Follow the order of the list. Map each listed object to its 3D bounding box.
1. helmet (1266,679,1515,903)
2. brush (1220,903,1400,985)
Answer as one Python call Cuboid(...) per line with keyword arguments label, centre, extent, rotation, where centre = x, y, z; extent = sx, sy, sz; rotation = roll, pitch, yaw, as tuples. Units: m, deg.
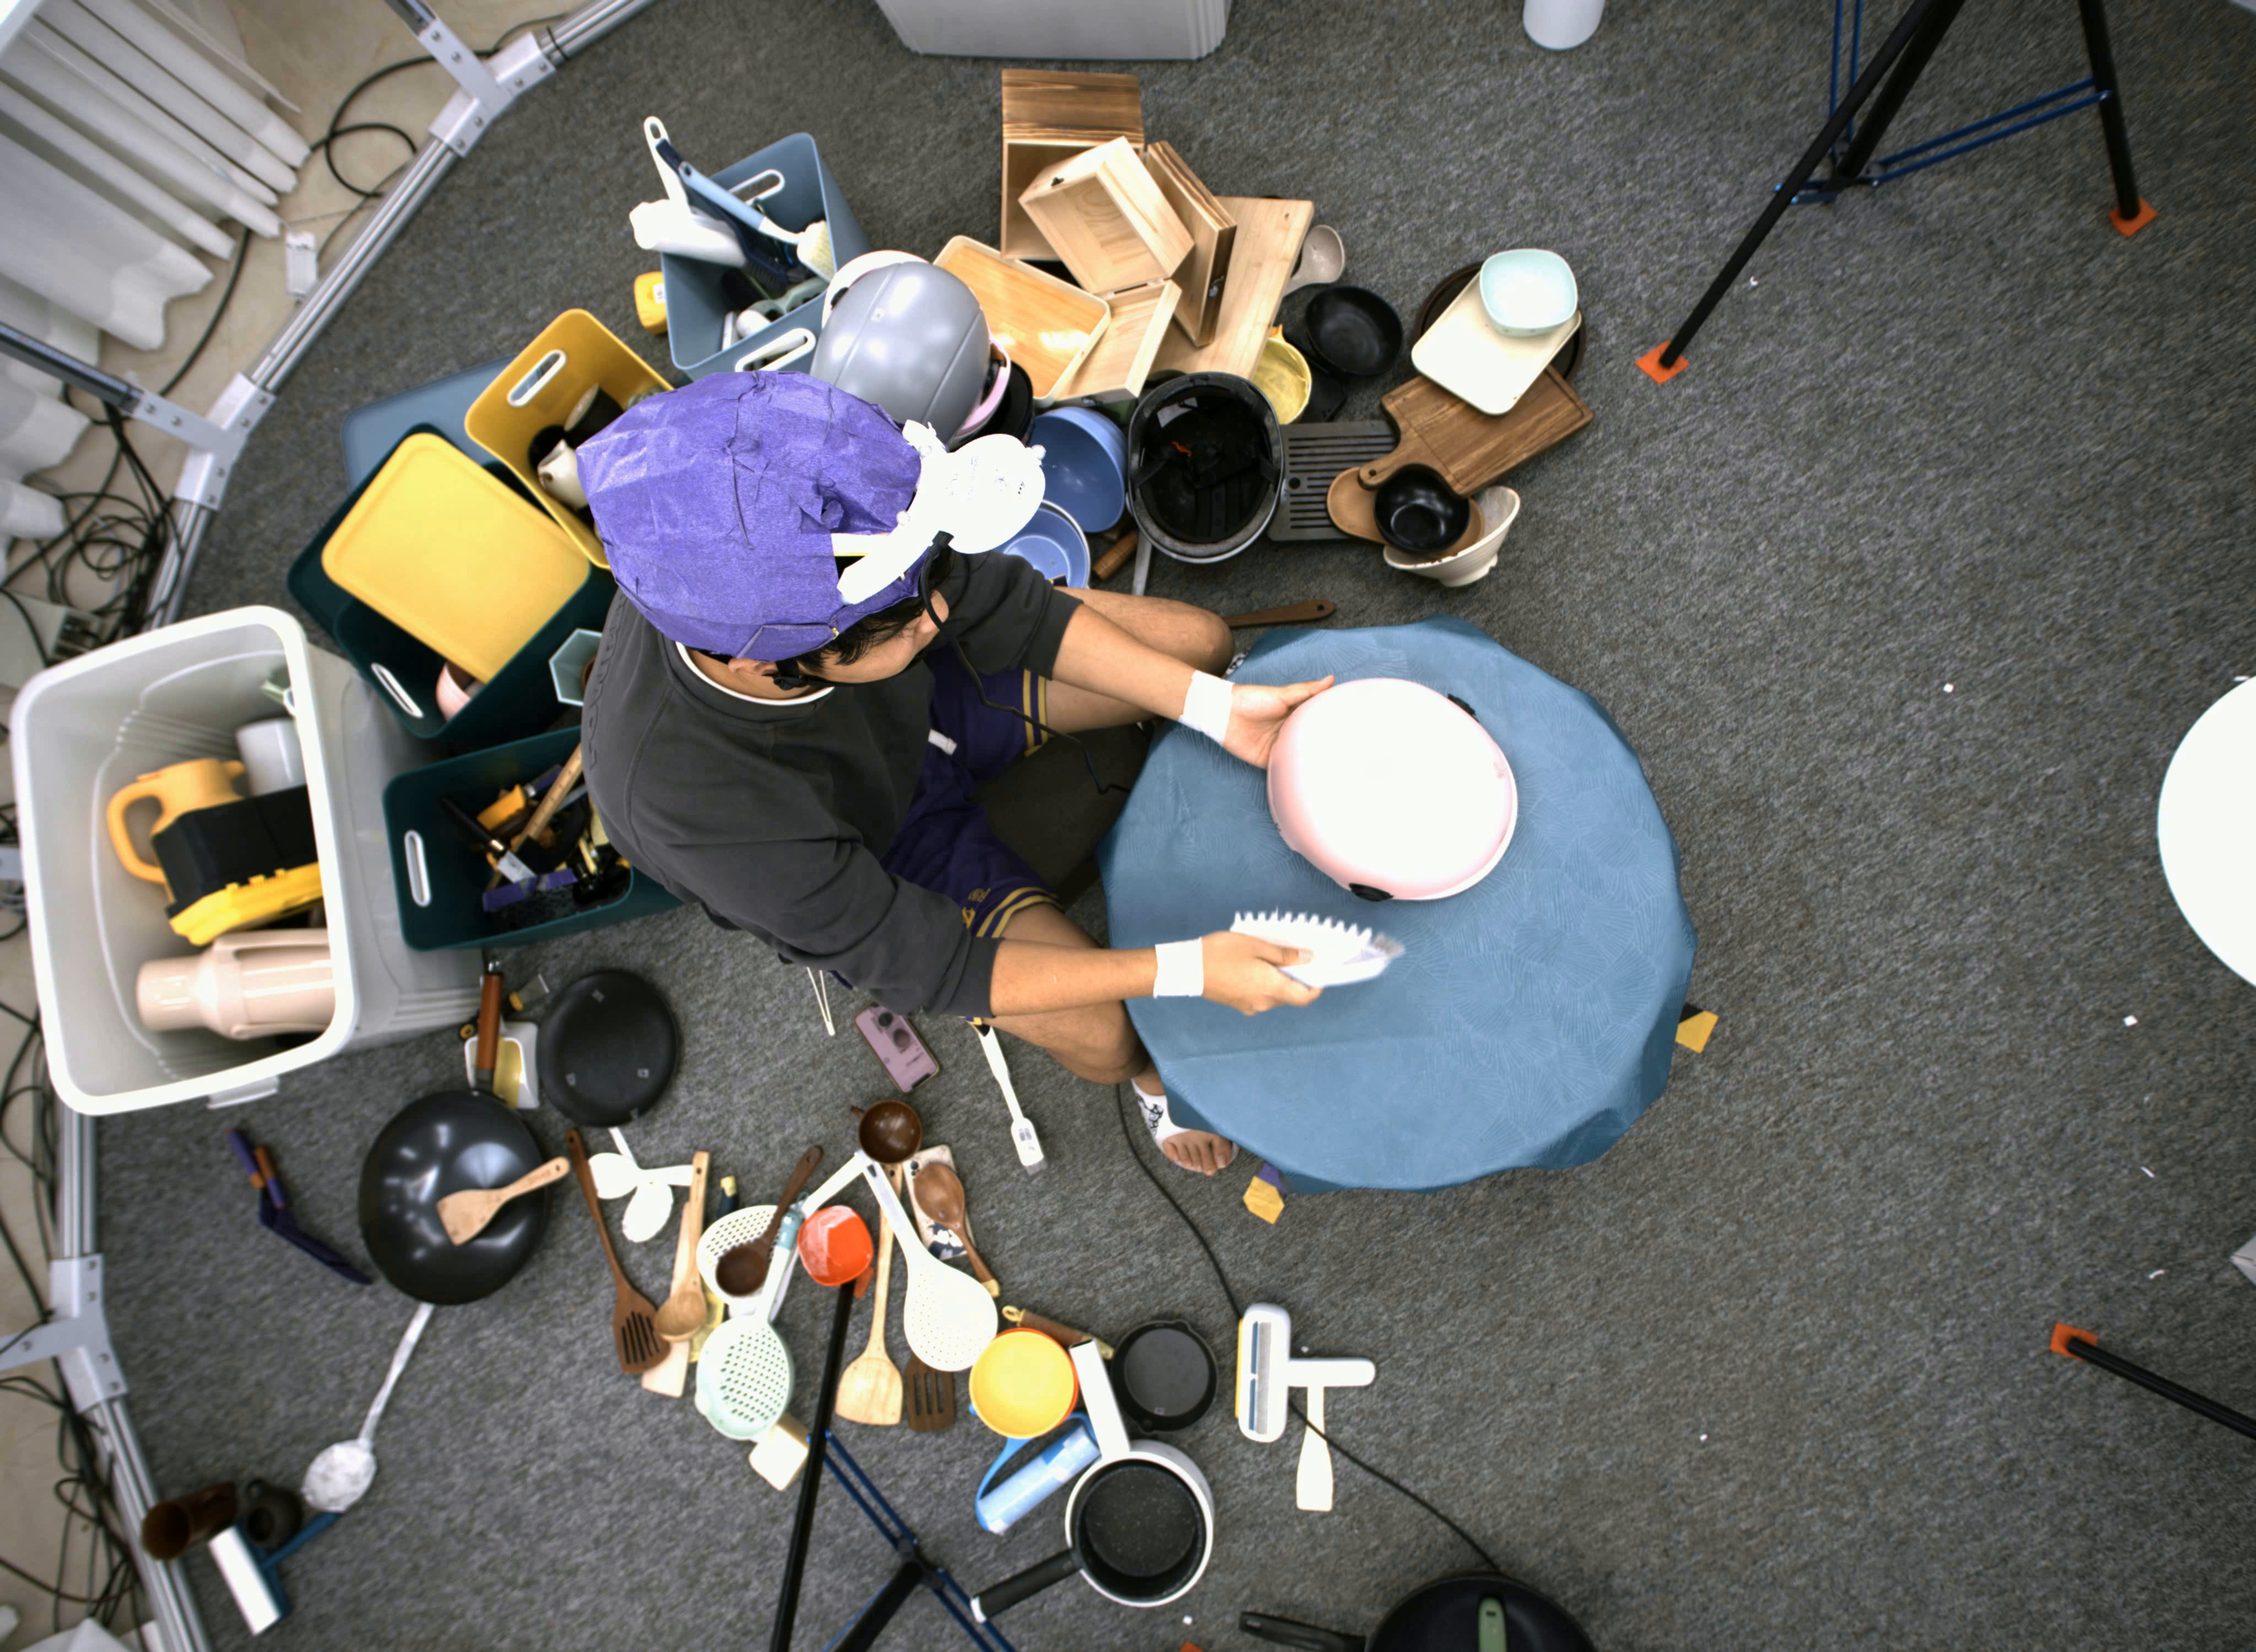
Cuboid(label="helmet", centre=(0.271, -0.042, 1.389), extent=(0.266, 0.159, 0.234), rotation=(26, 90, 6))
Cuboid(label="brush", centre=(0.176, 0.123, 1.370), extent=(0.176, 0.092, 0.063), rotation=(4, 119, 17))
